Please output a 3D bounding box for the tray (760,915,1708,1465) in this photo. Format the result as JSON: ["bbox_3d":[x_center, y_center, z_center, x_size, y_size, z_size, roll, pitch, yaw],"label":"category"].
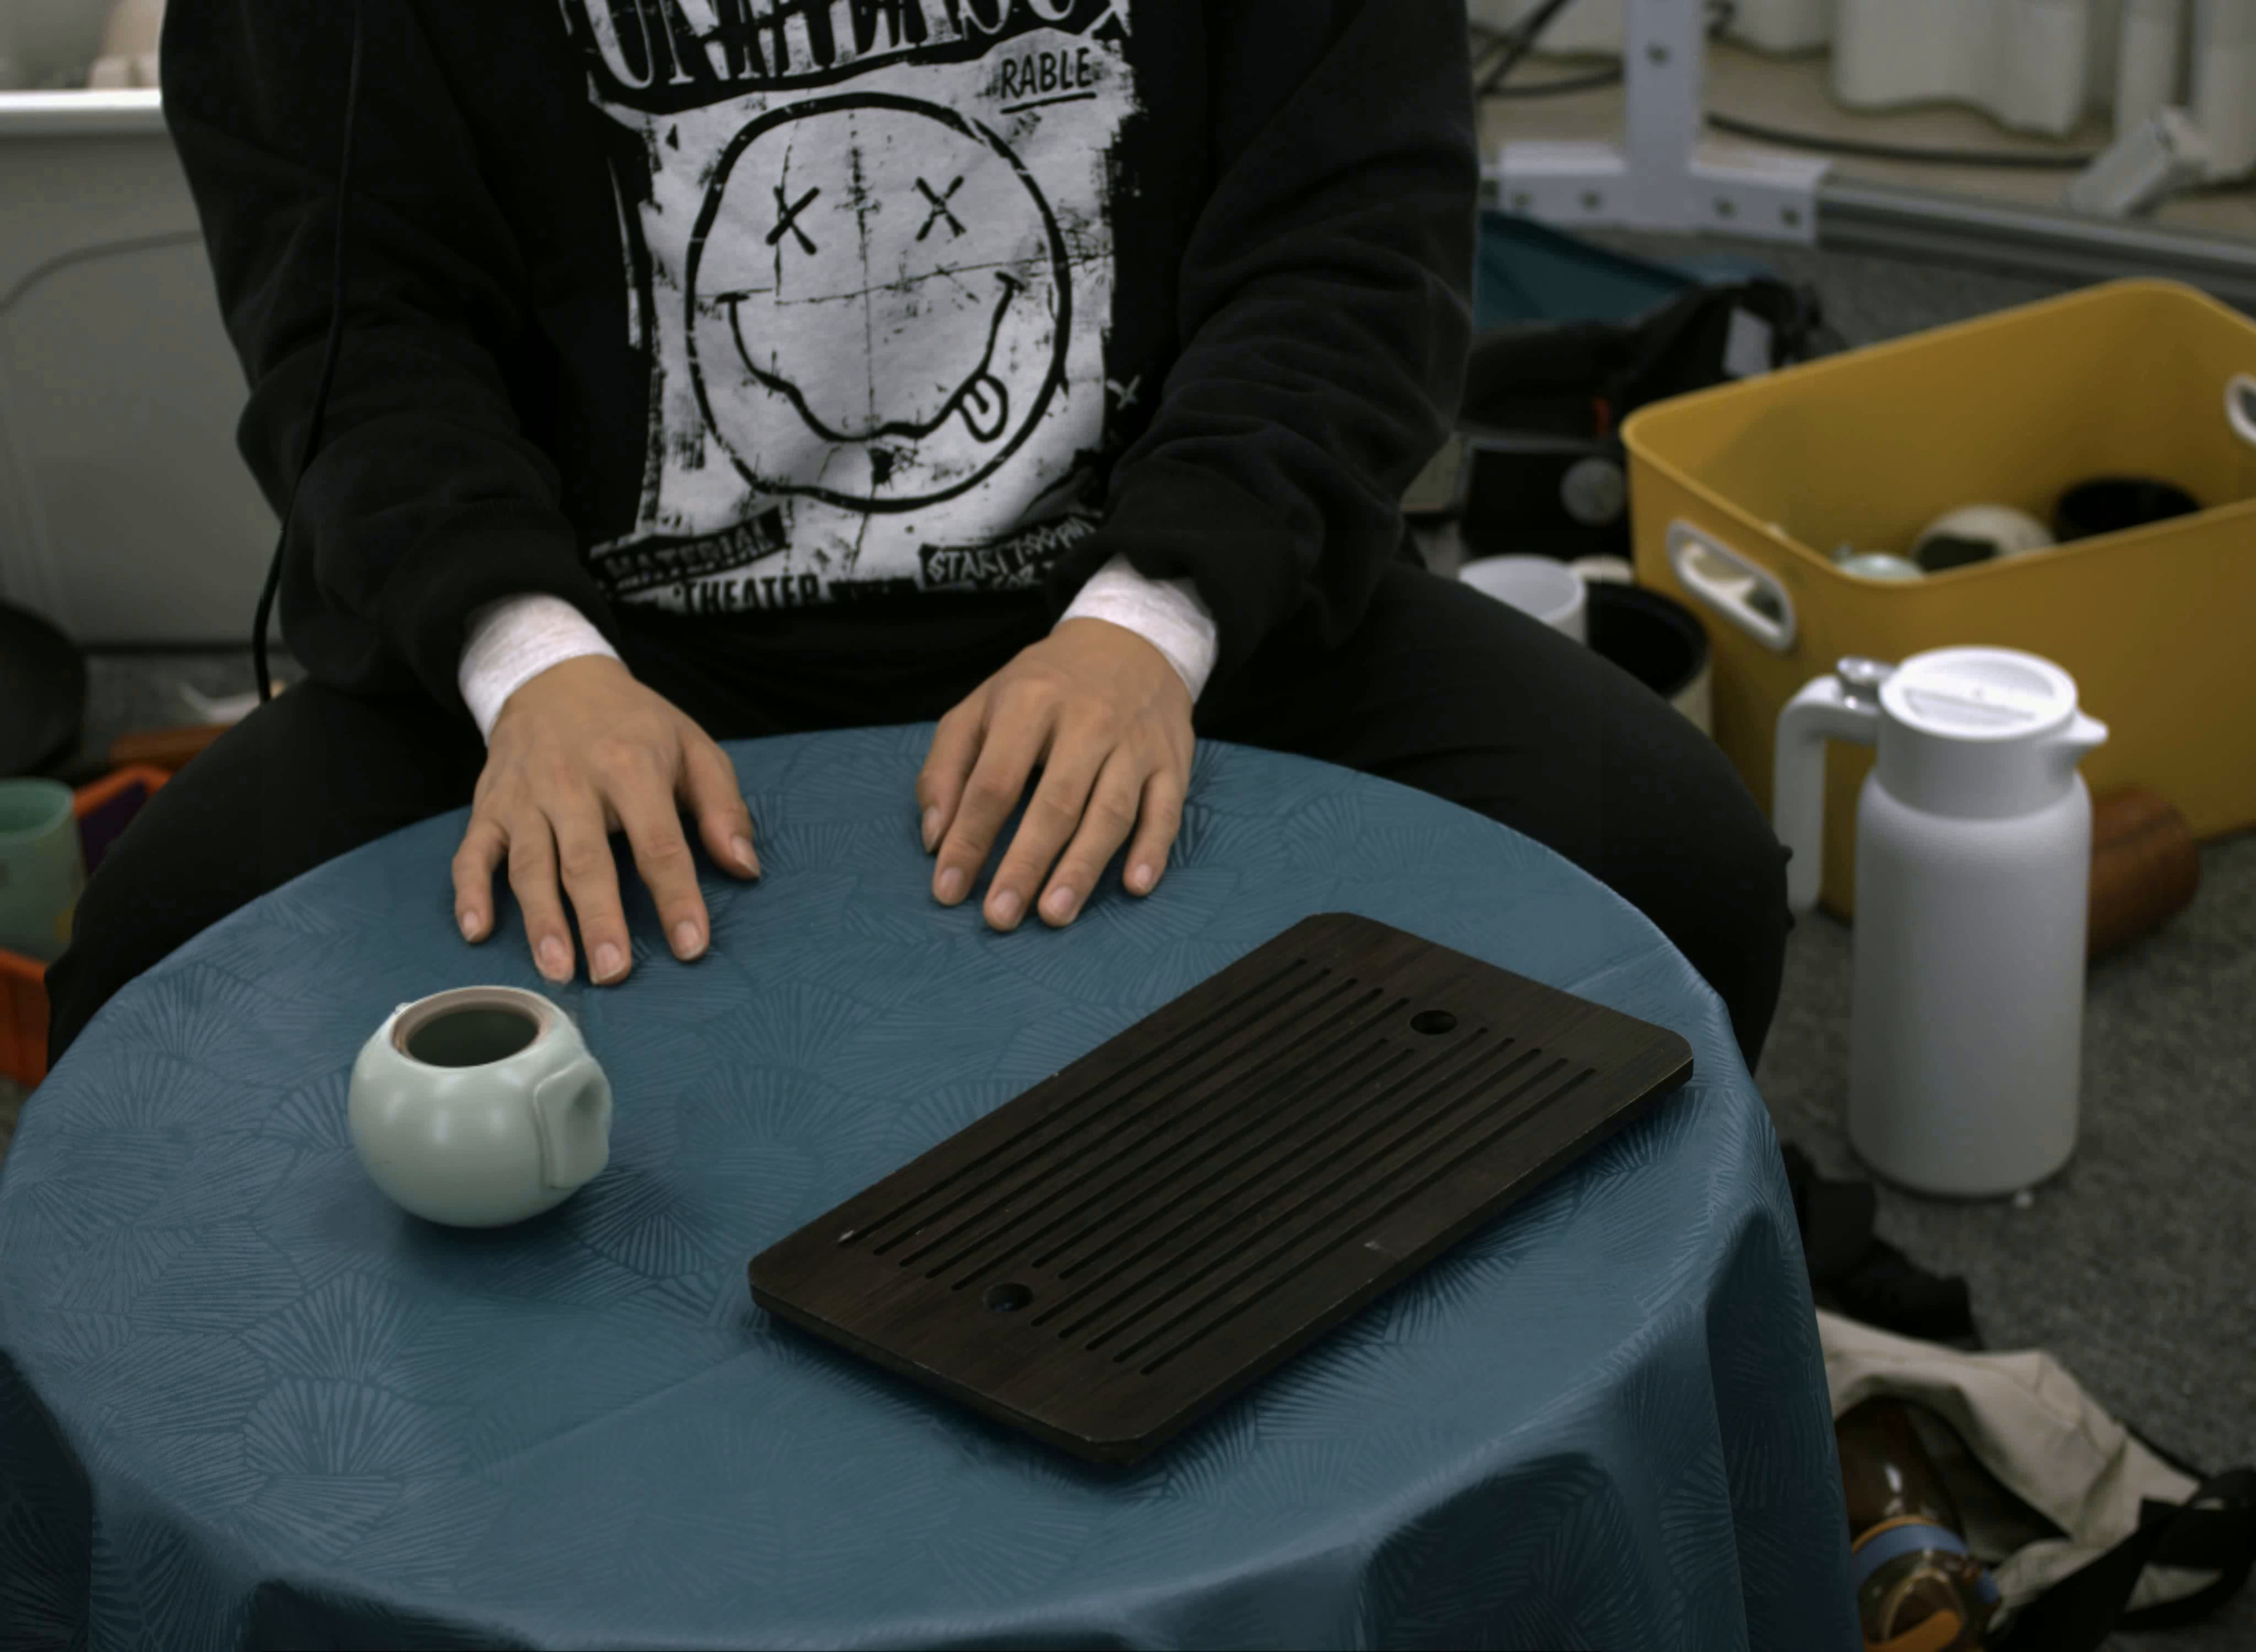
[{"bbox_3d":[0.039,0.116,1.845,0.169,0.018,0.310,20,35,37],"label":"tray"}]

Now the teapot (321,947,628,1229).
[{"bbox_3d":[-0.214,0.092,1.859,0.143,0.074,0.089,22,36,38],"label":"teapot"}]
